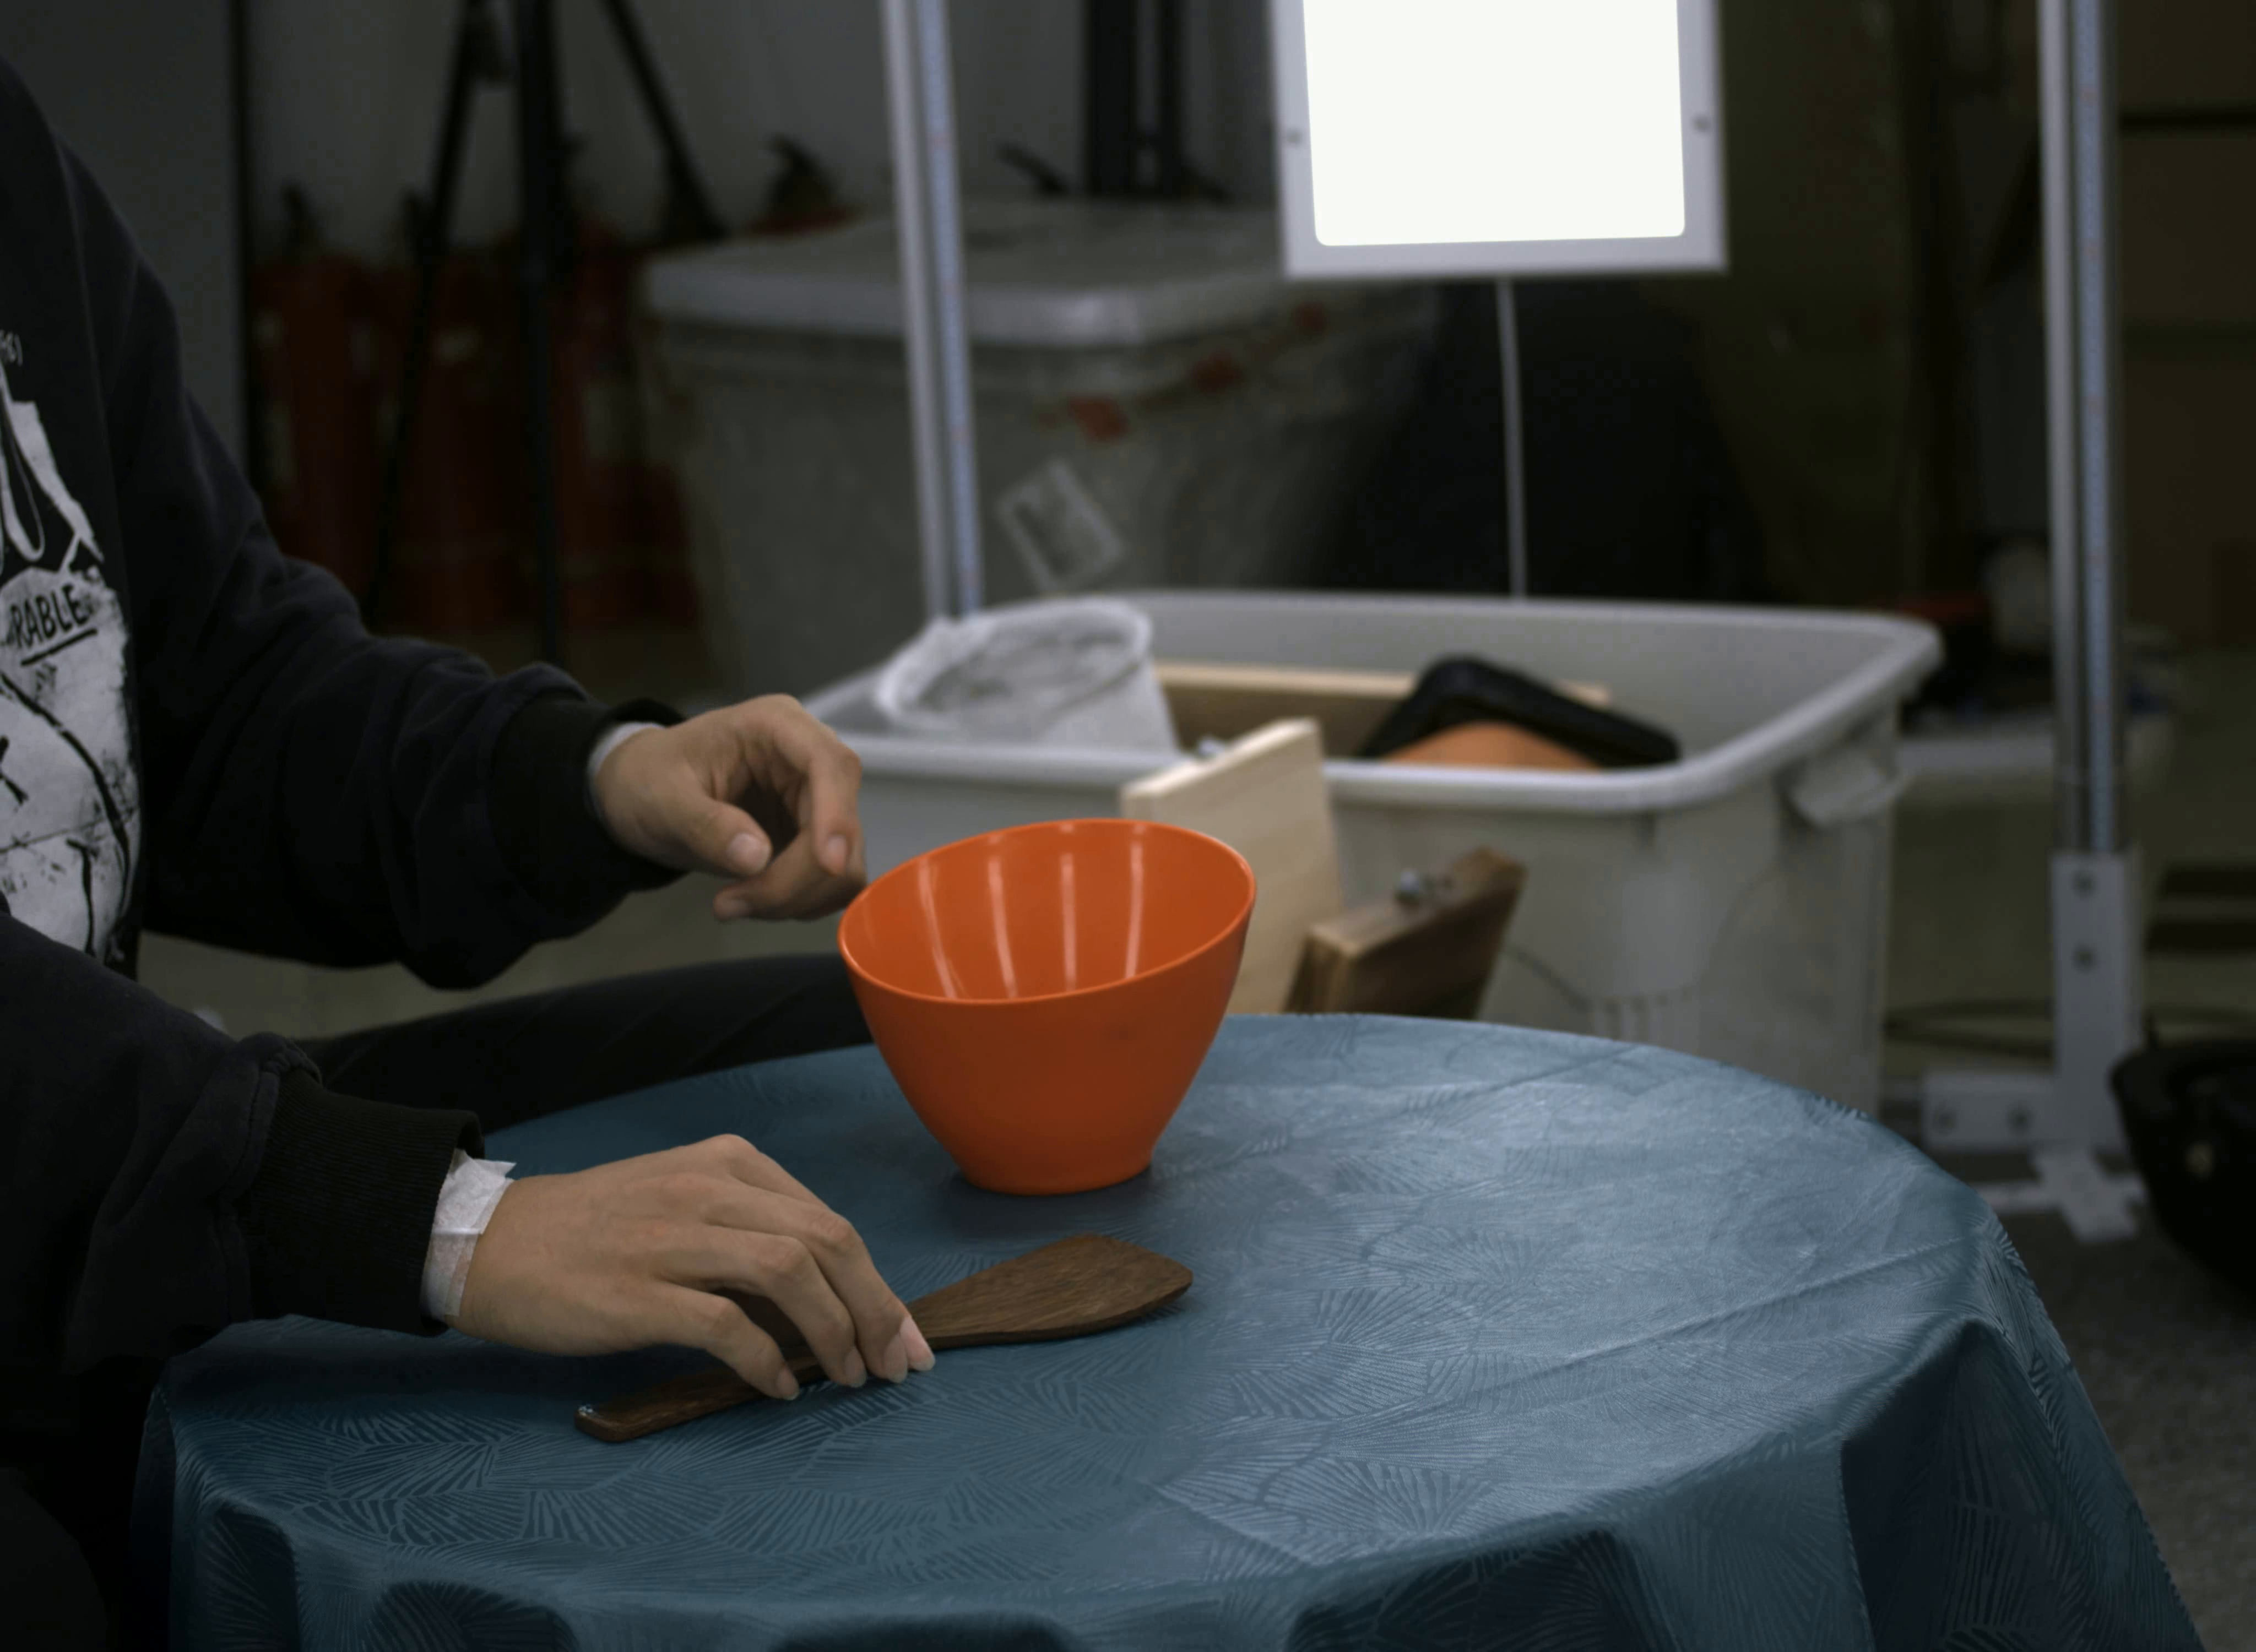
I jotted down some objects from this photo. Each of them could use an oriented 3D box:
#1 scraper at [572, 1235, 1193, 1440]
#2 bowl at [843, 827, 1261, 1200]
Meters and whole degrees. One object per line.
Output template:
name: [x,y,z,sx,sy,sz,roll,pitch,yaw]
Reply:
scraper: [-0.080,0.165,1.754,0.206,0.011,0.077,-14,15,-29]
bowl: [-0.024,0.069,1.930,0.147,0.105,0.148,-4,14,0]
